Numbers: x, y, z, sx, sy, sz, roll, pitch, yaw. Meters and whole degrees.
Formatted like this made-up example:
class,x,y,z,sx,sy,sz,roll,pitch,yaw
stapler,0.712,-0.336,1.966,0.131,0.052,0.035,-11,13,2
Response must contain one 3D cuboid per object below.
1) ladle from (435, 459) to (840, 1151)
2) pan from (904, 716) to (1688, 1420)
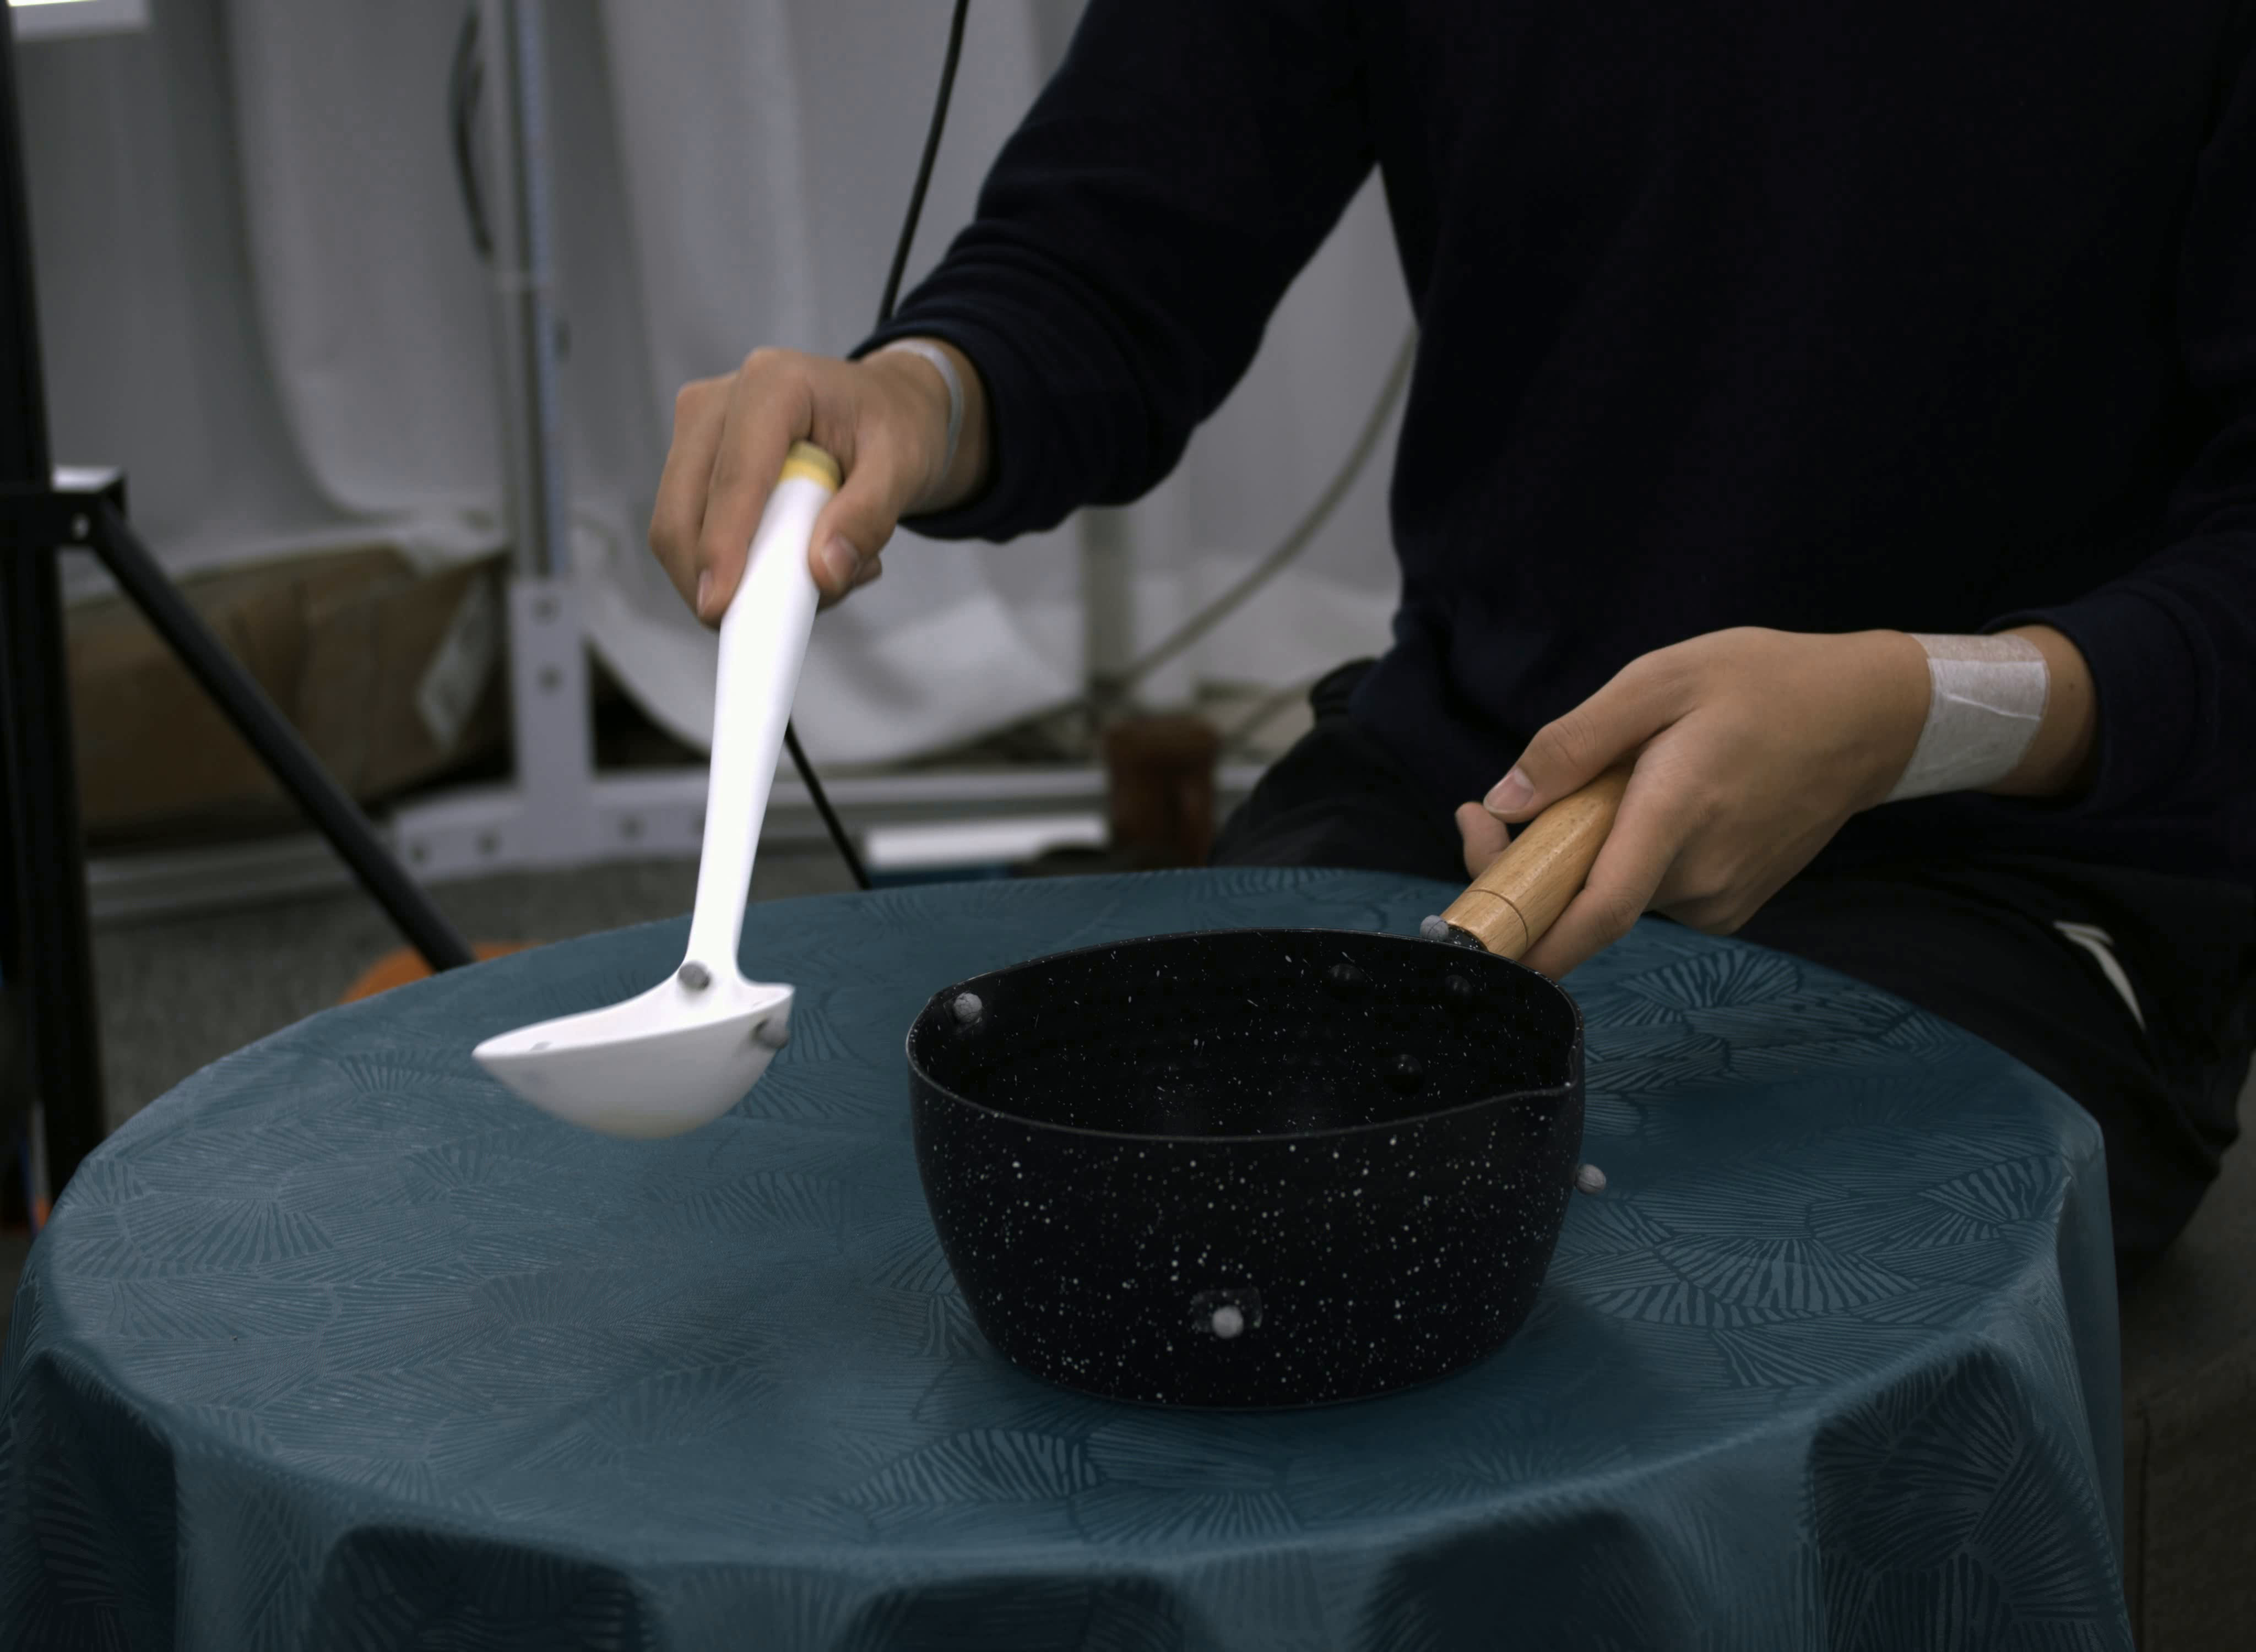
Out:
class,x,y,z,sx,sy,sz,roll,pitch,yaw
ladle,-0.129,-0.016,1.543,0.091,0.069,0.294,-17,38,24
pan,0.073,0.063,1.505,0.211,0.108,0.336,6,19,31
